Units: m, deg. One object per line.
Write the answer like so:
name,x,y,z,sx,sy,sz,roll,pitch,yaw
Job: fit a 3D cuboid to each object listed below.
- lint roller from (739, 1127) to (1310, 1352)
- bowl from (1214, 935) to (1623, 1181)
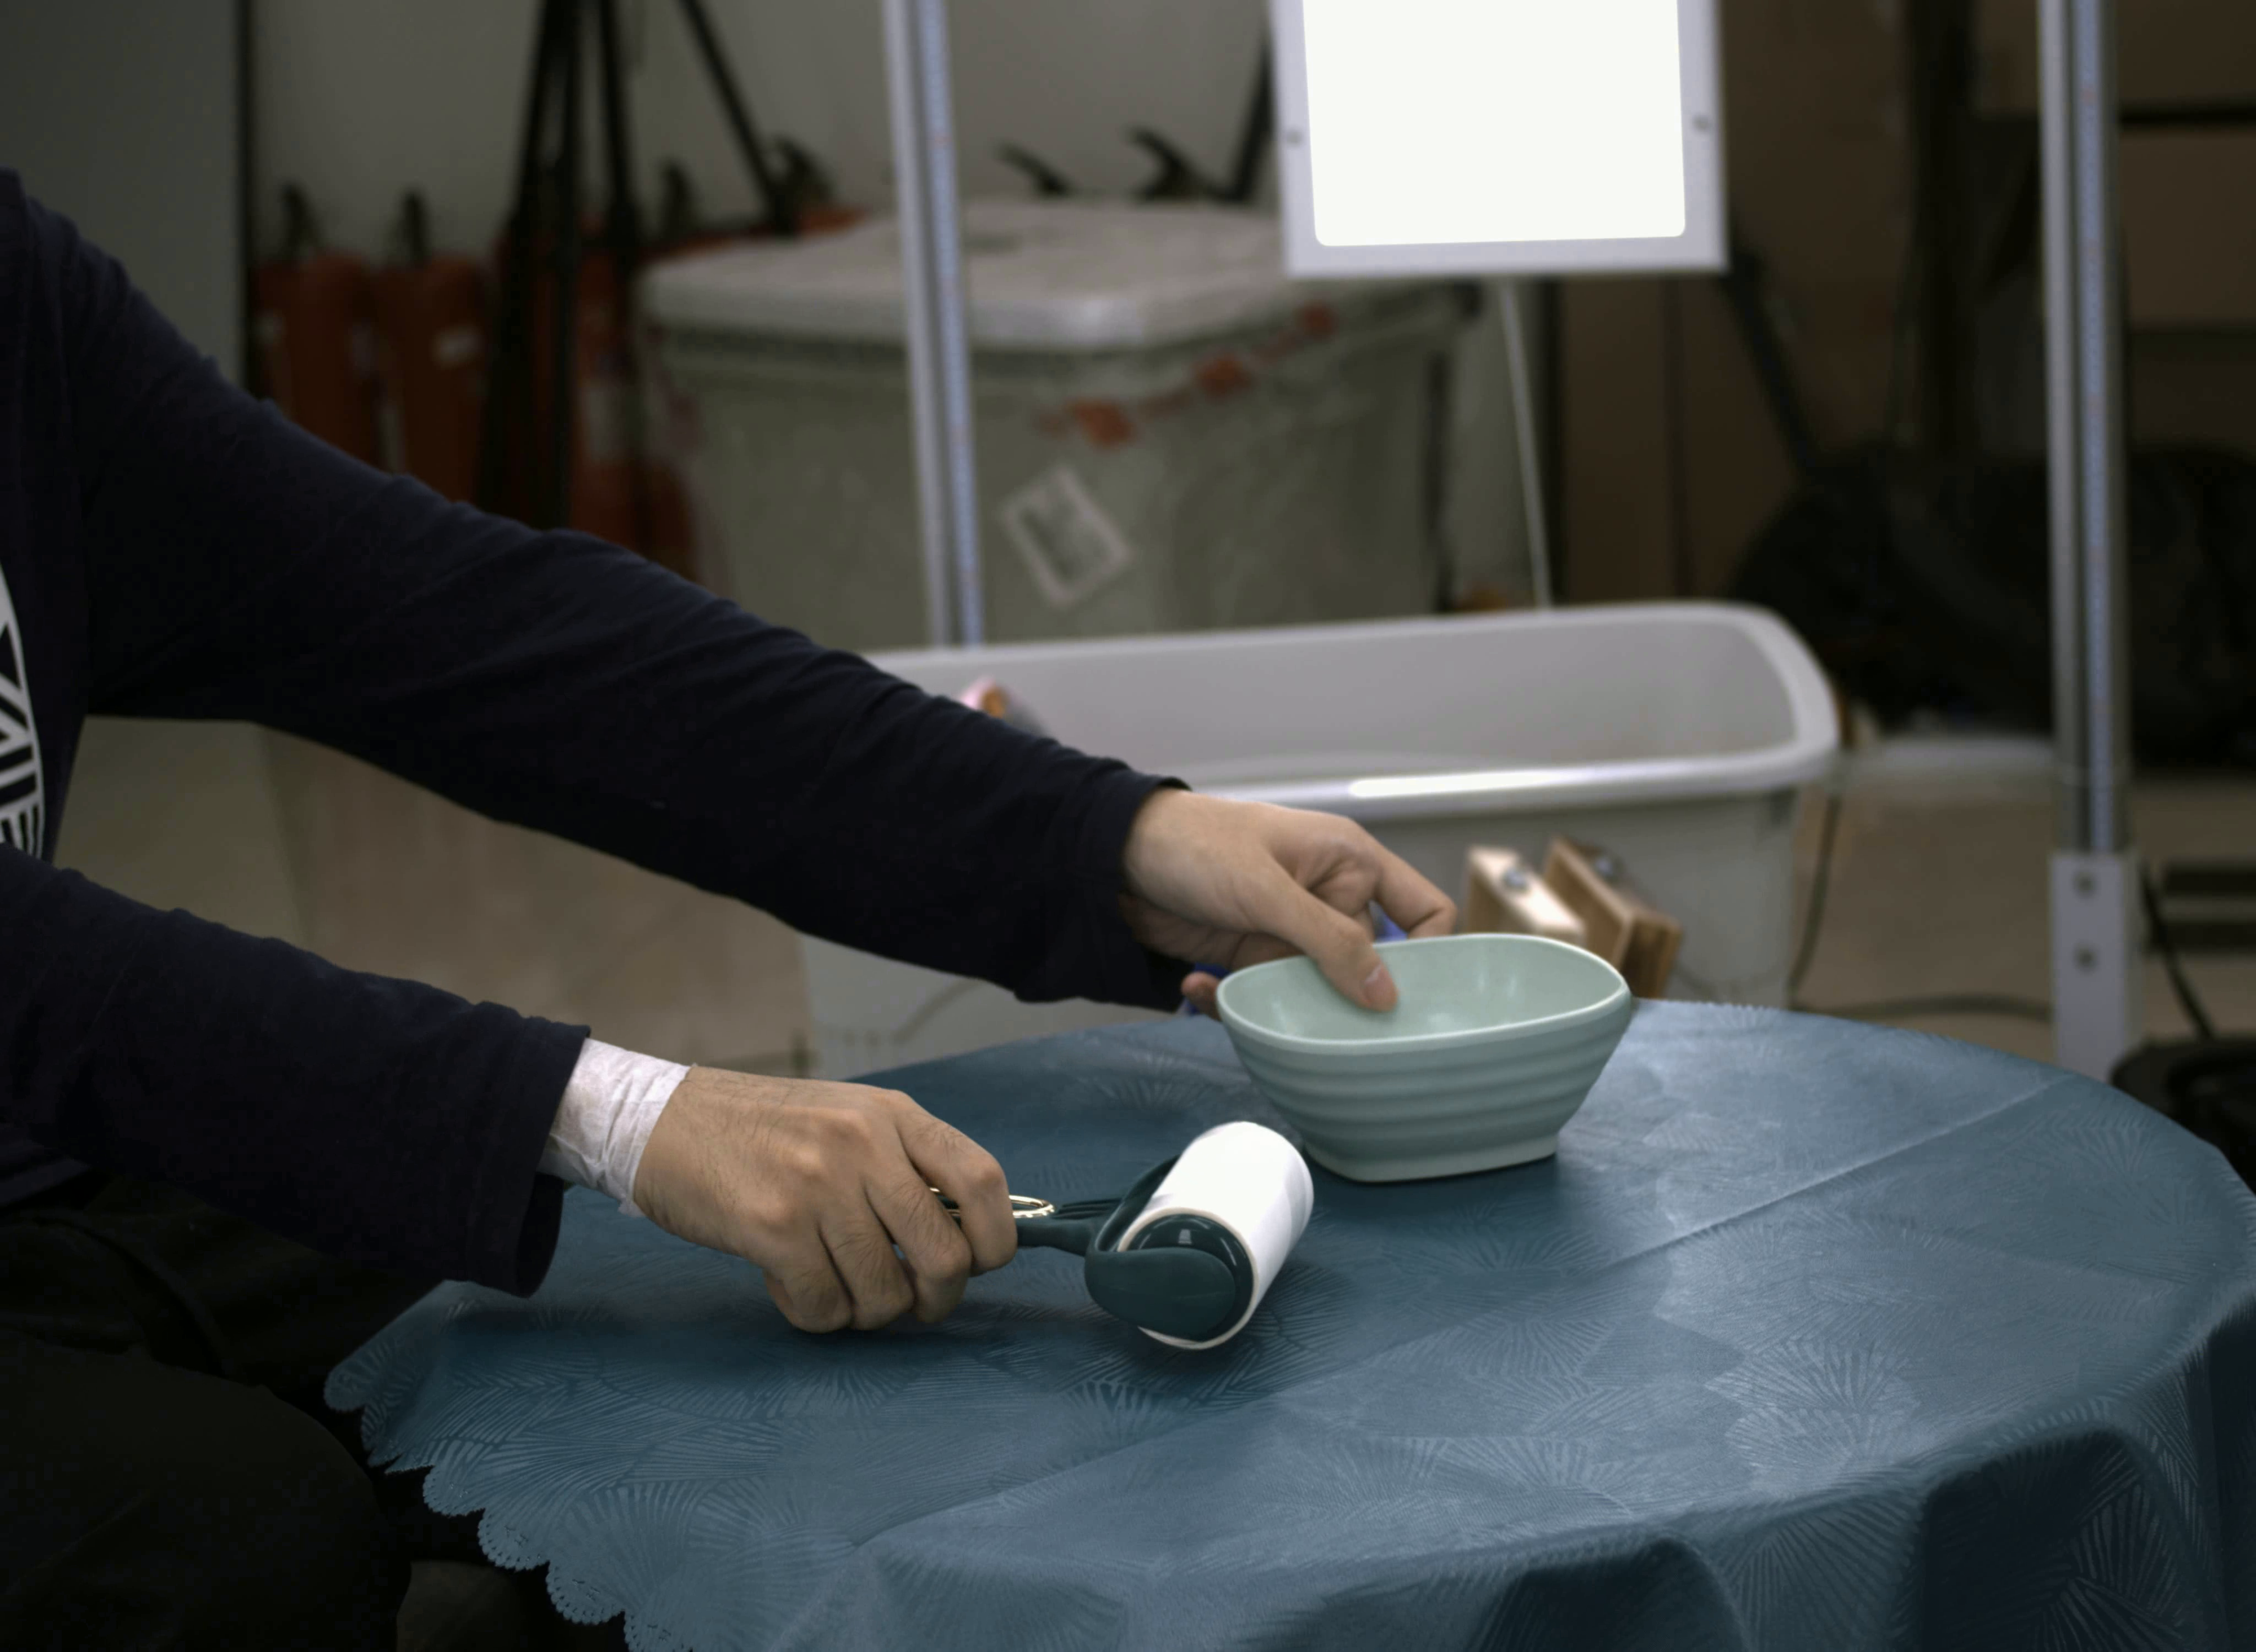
lint roller,-0.037,0.124,1.775,0.181,0.048,0.132,6,14,12
bowl,0.102,0.083,1.919,0.151,0.059,0.151,-3,13,-1
